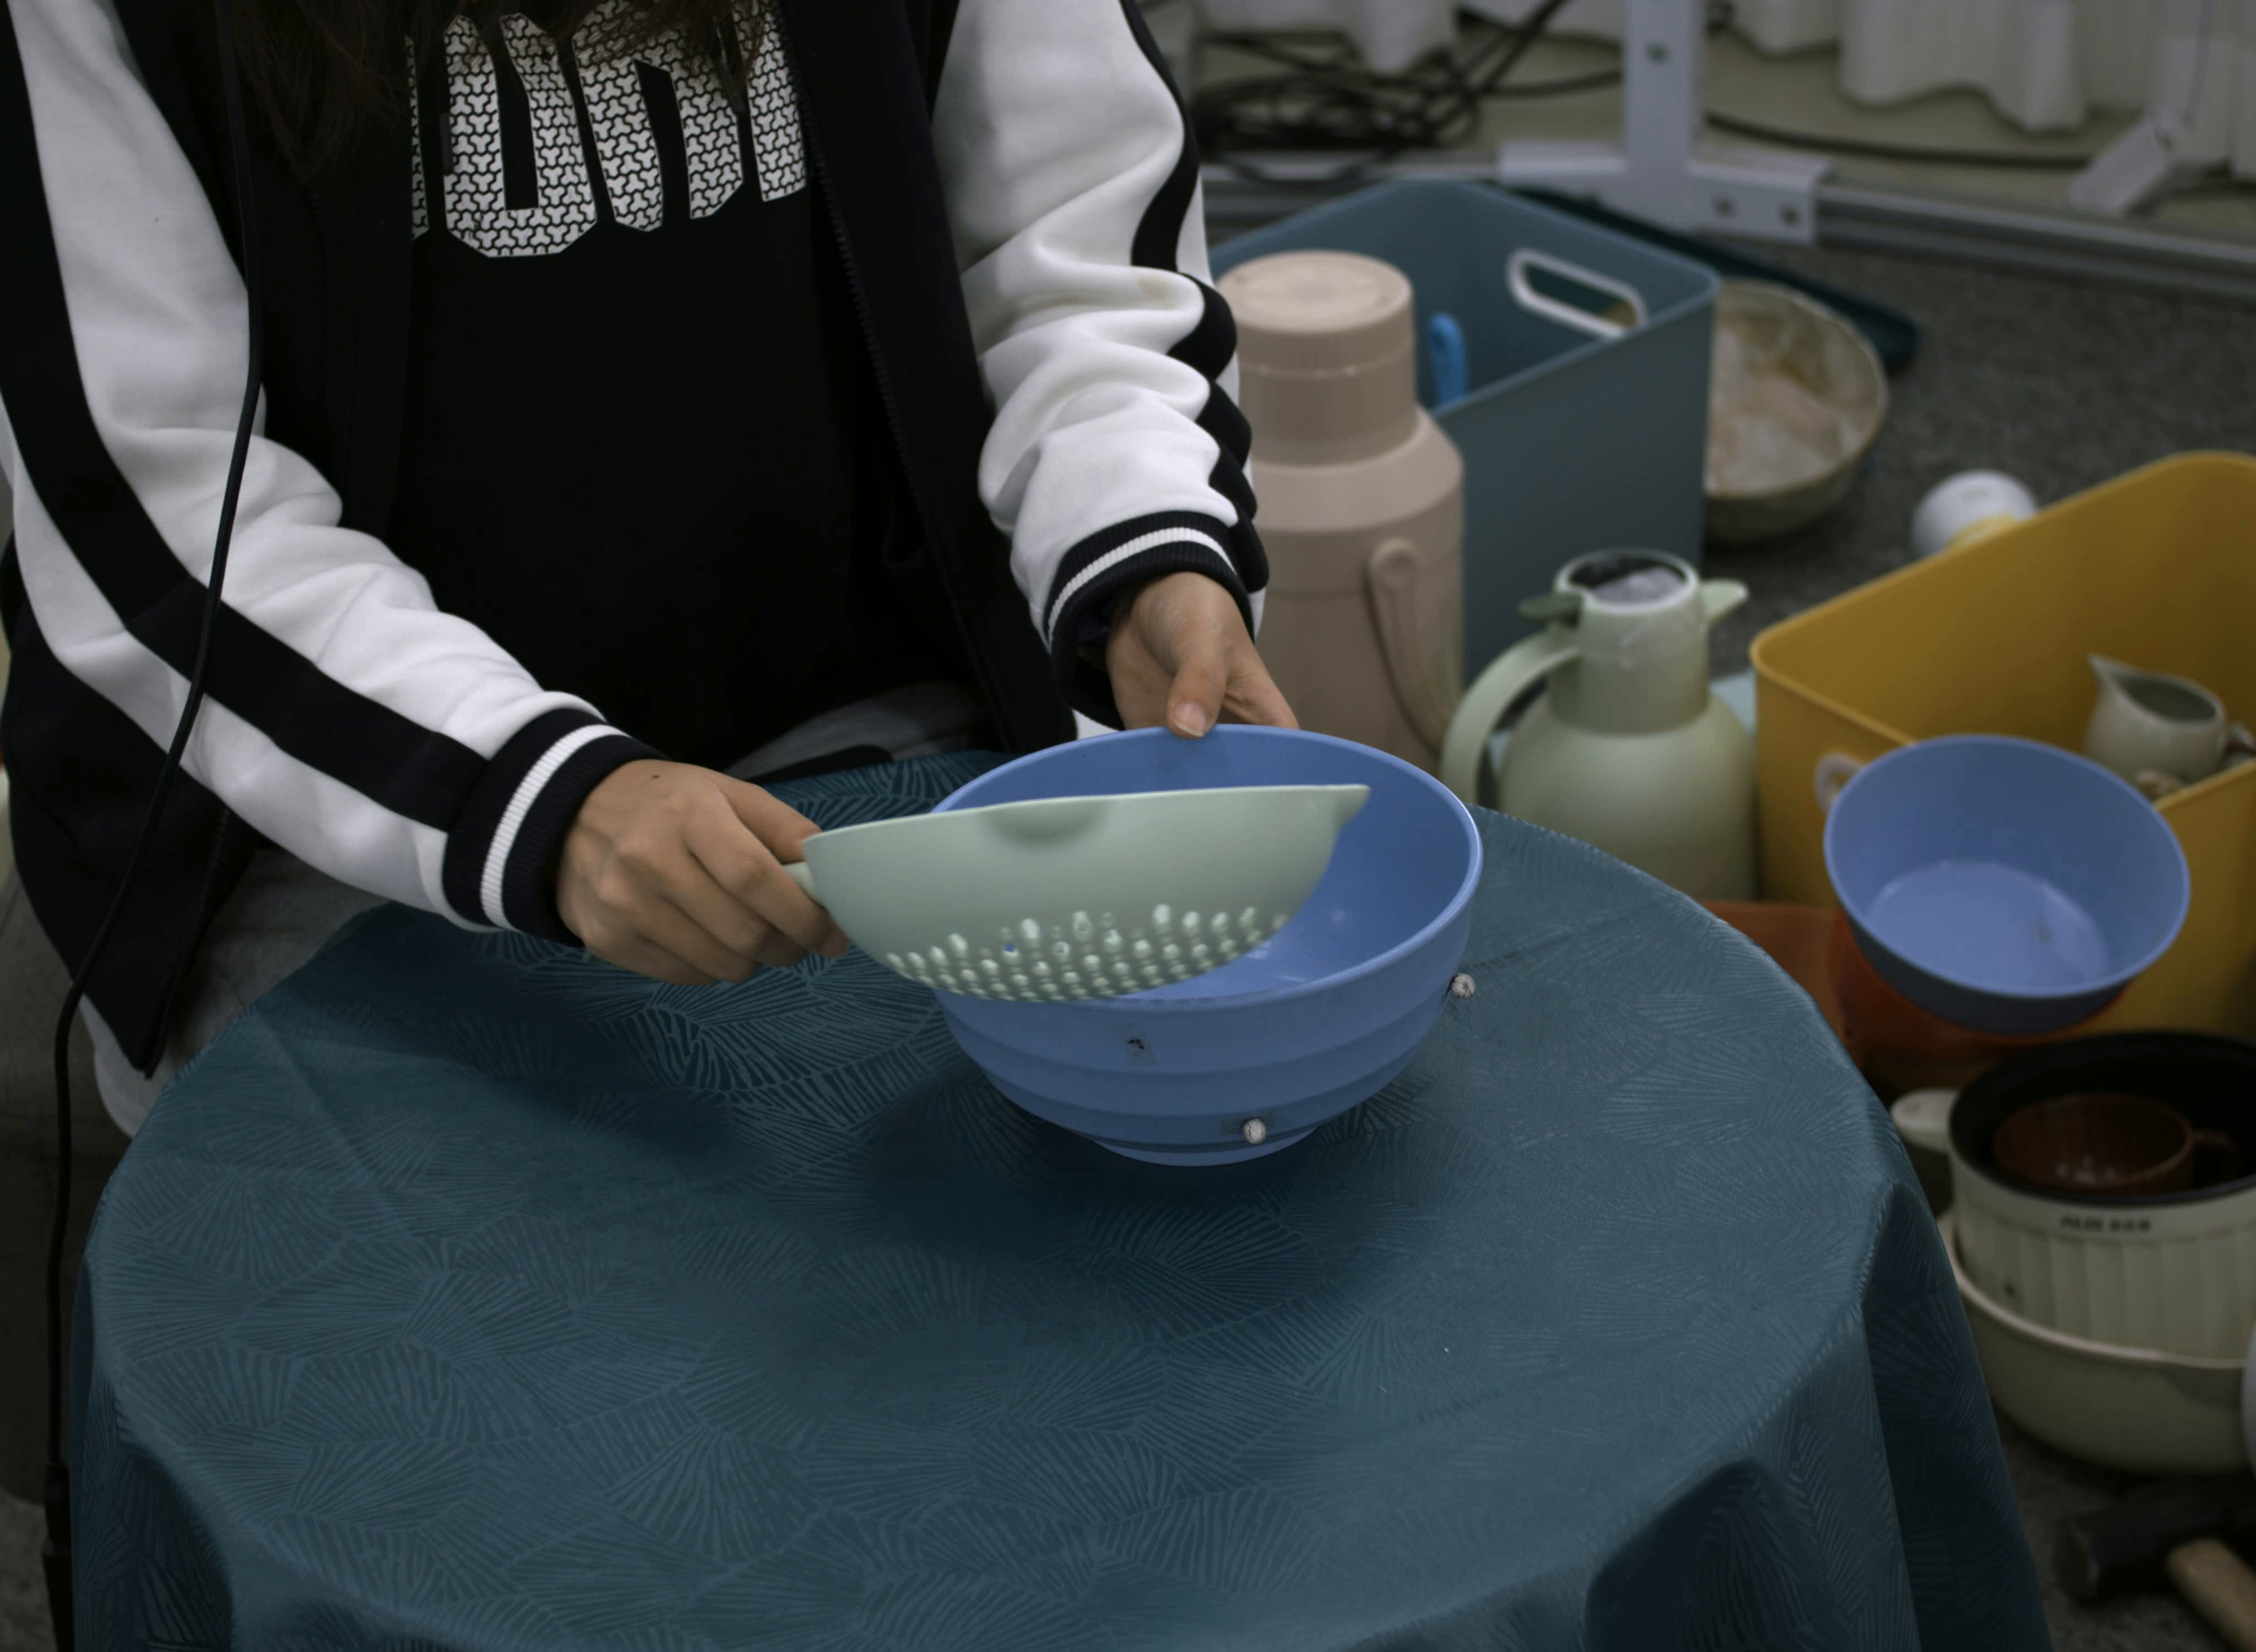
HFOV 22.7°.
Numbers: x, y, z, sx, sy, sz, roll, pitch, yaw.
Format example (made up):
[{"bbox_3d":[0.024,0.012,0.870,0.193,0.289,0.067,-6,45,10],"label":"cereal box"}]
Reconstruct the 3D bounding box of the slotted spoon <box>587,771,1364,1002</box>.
[{"bbox_3d":[-0.076,0.021,1.820,0.170,0.075,0.355,-2,2,-38],"label":"slotted spoon"}]

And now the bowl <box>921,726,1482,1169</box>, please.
[{"bbox_3d":[0.023,0.052,1.893,0.195,0.094,0.199,-3,27,2],"label":"bowl"}]
